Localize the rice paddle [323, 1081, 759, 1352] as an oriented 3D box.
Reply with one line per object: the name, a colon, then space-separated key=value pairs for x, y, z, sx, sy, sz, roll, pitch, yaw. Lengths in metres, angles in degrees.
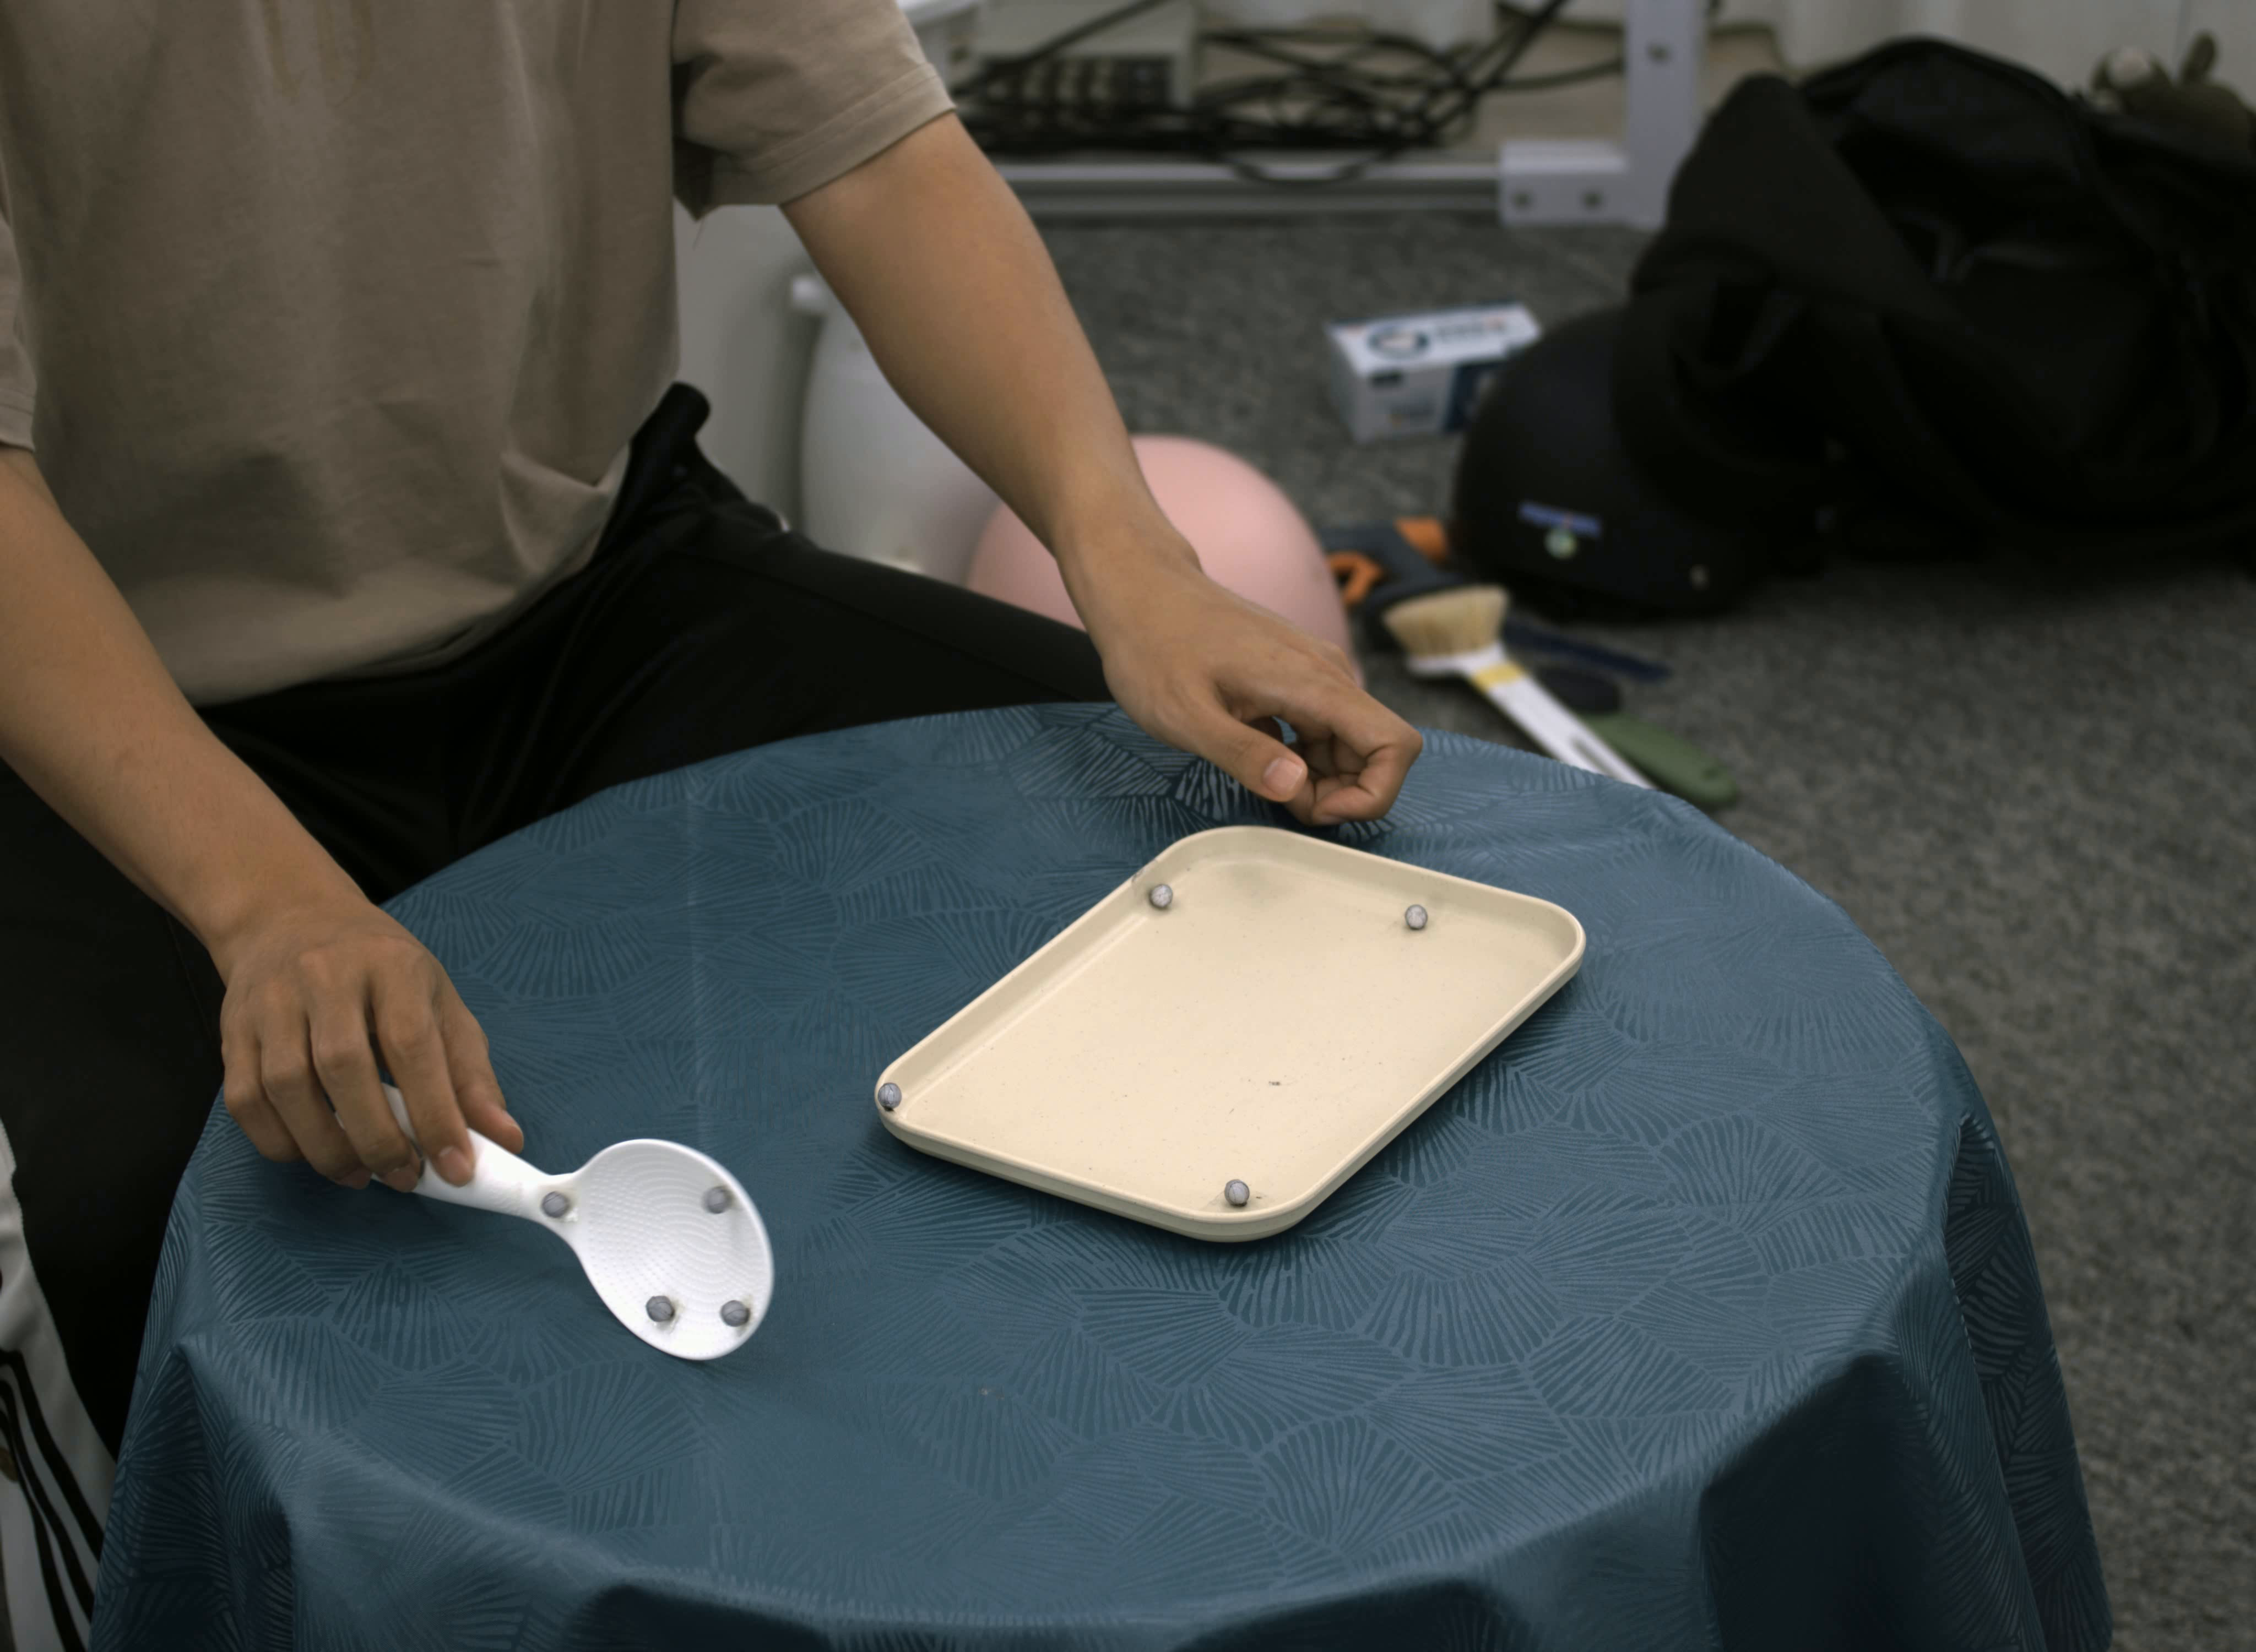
rice paddle: x=-0.188 y=0.121 z=1.815 sx=0.029 sy=0.068 sz=0.204 roll=-14 pitch=21 yaw=-42

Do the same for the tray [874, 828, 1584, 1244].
tray: x=0.037 y=0.071 z=1.937 sx=0.170 sy=0.017 sz=0.243 roll=15 pitch=32 yaw=29
